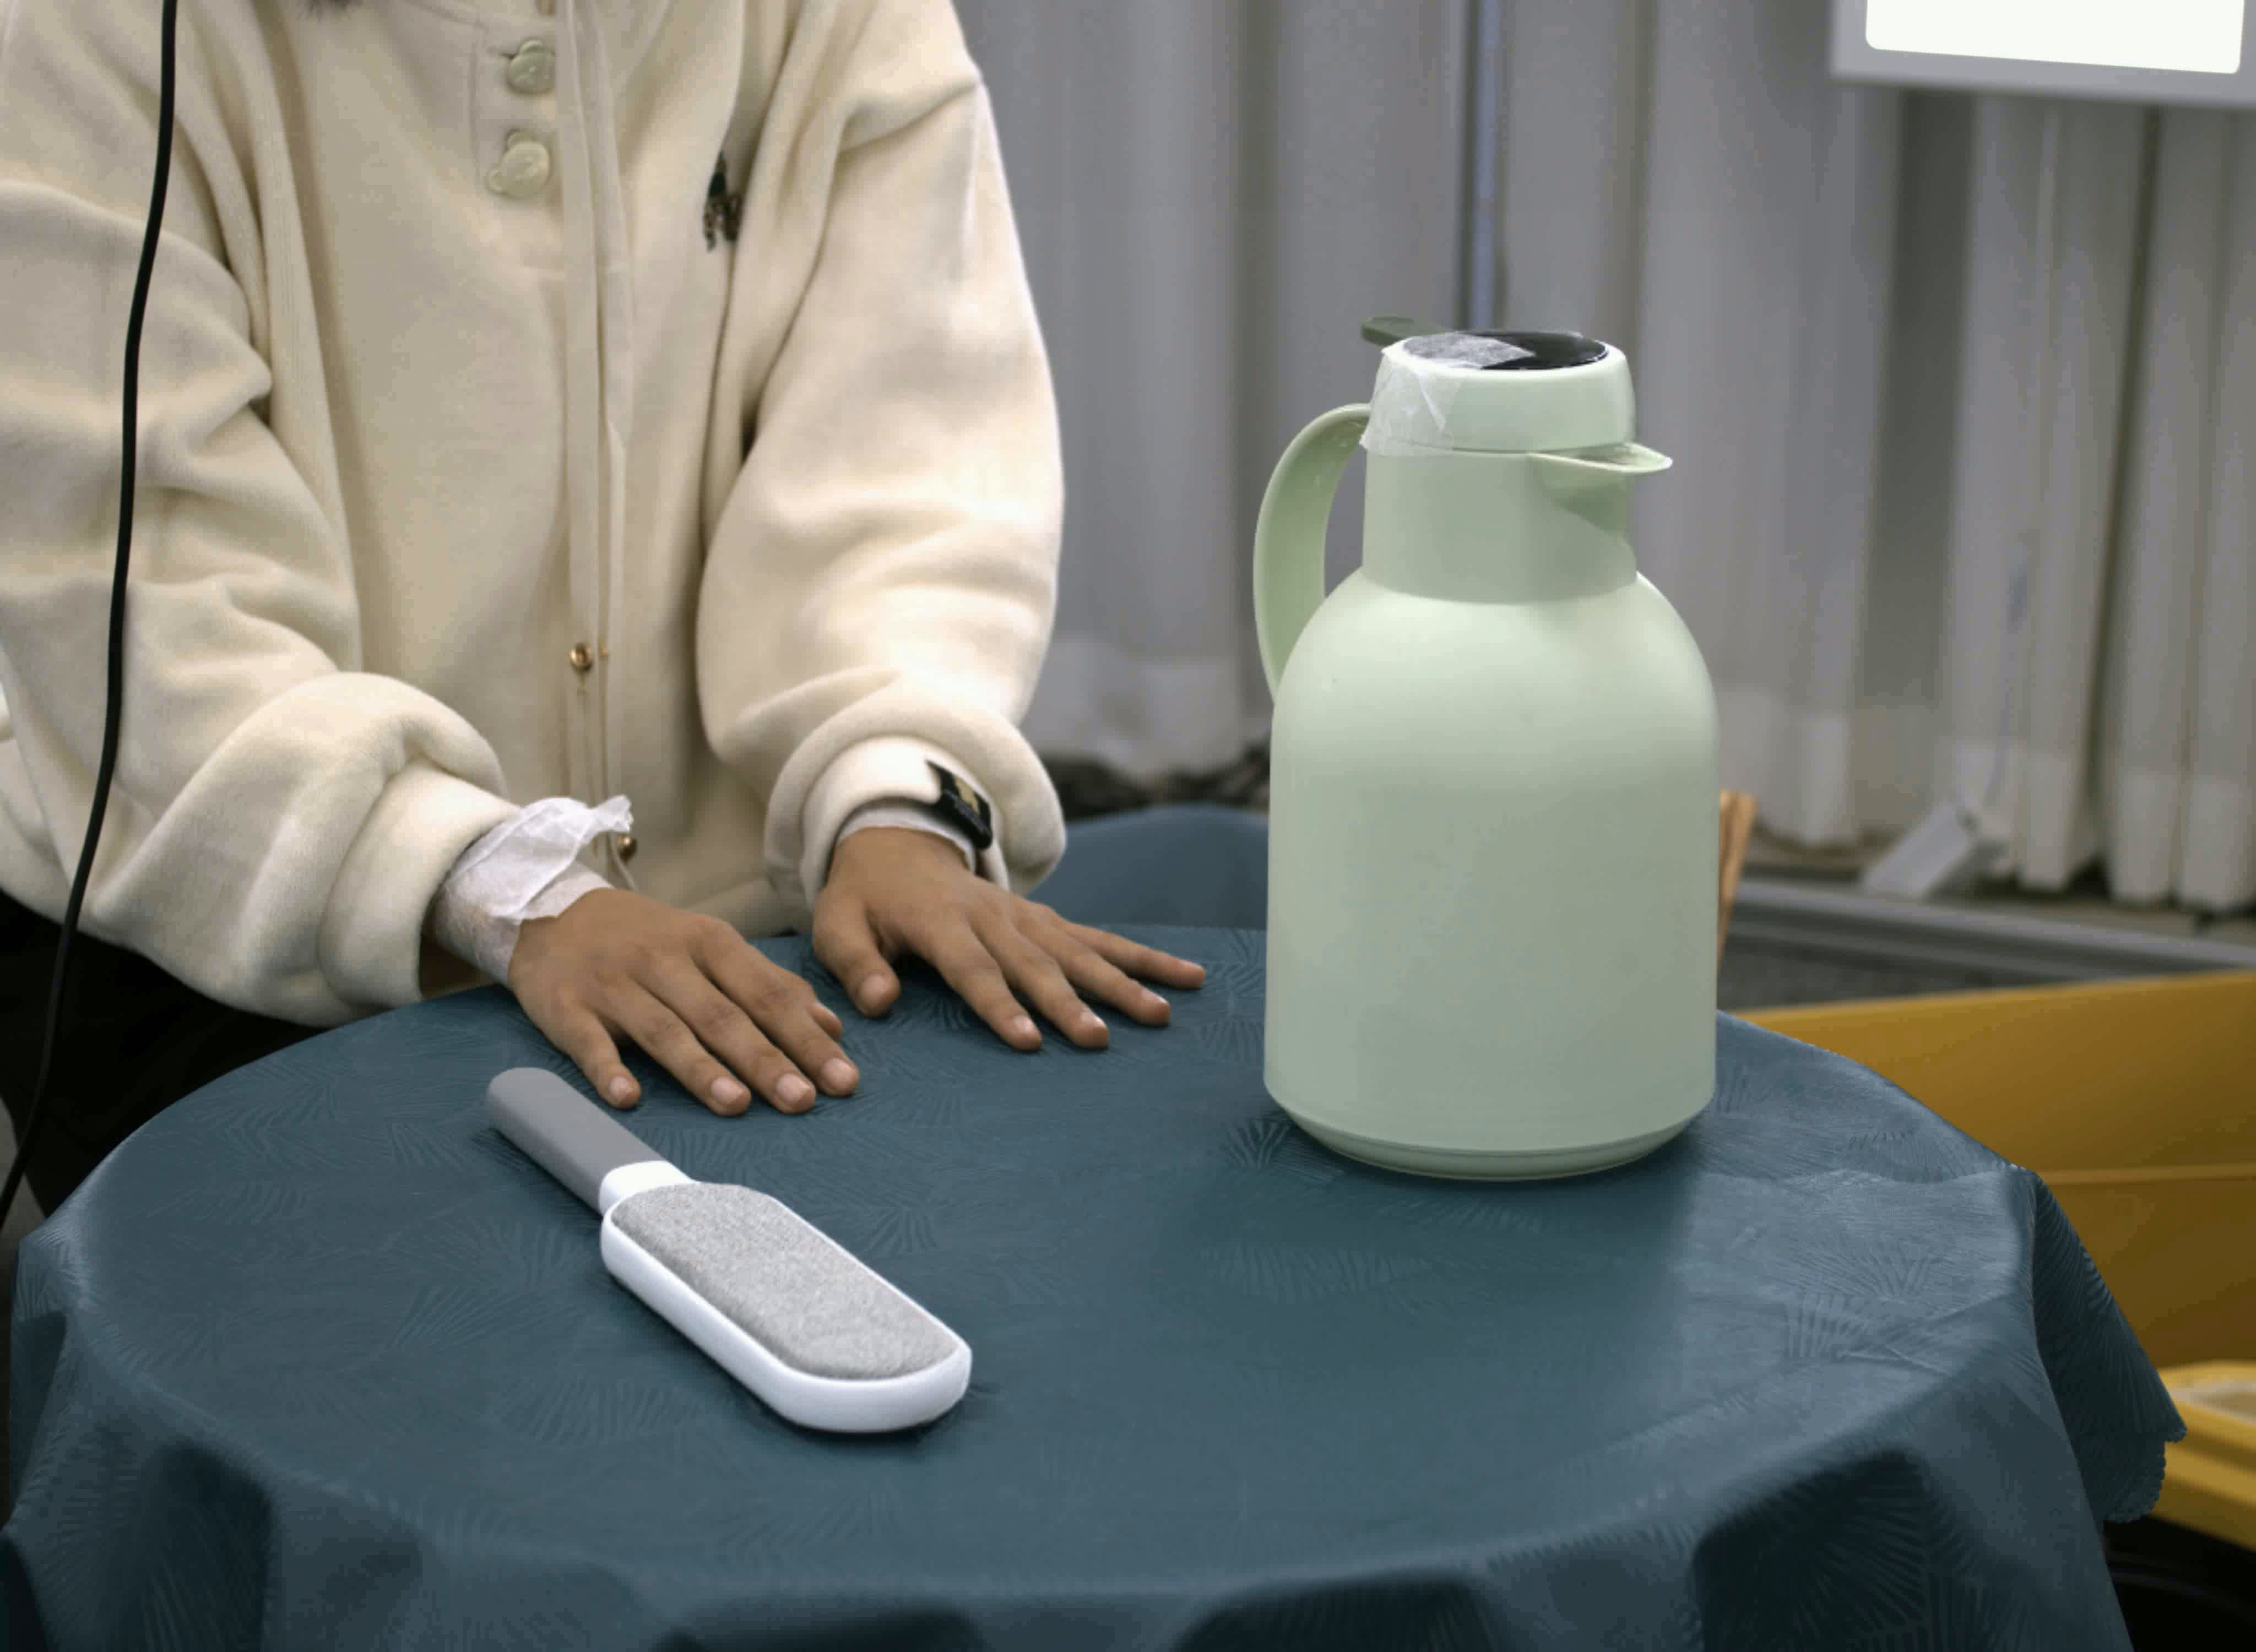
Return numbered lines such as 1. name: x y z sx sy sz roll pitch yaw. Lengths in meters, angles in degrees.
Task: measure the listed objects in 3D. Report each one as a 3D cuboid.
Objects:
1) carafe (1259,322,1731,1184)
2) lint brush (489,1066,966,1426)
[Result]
1. carafe: 0.109 -0.028 1.664 0.145 0.259 0.184 -13 17 -34
2. lint brush: -0.126 0.119 1.548 0.060 0.021 0.305 -10 18 -25
